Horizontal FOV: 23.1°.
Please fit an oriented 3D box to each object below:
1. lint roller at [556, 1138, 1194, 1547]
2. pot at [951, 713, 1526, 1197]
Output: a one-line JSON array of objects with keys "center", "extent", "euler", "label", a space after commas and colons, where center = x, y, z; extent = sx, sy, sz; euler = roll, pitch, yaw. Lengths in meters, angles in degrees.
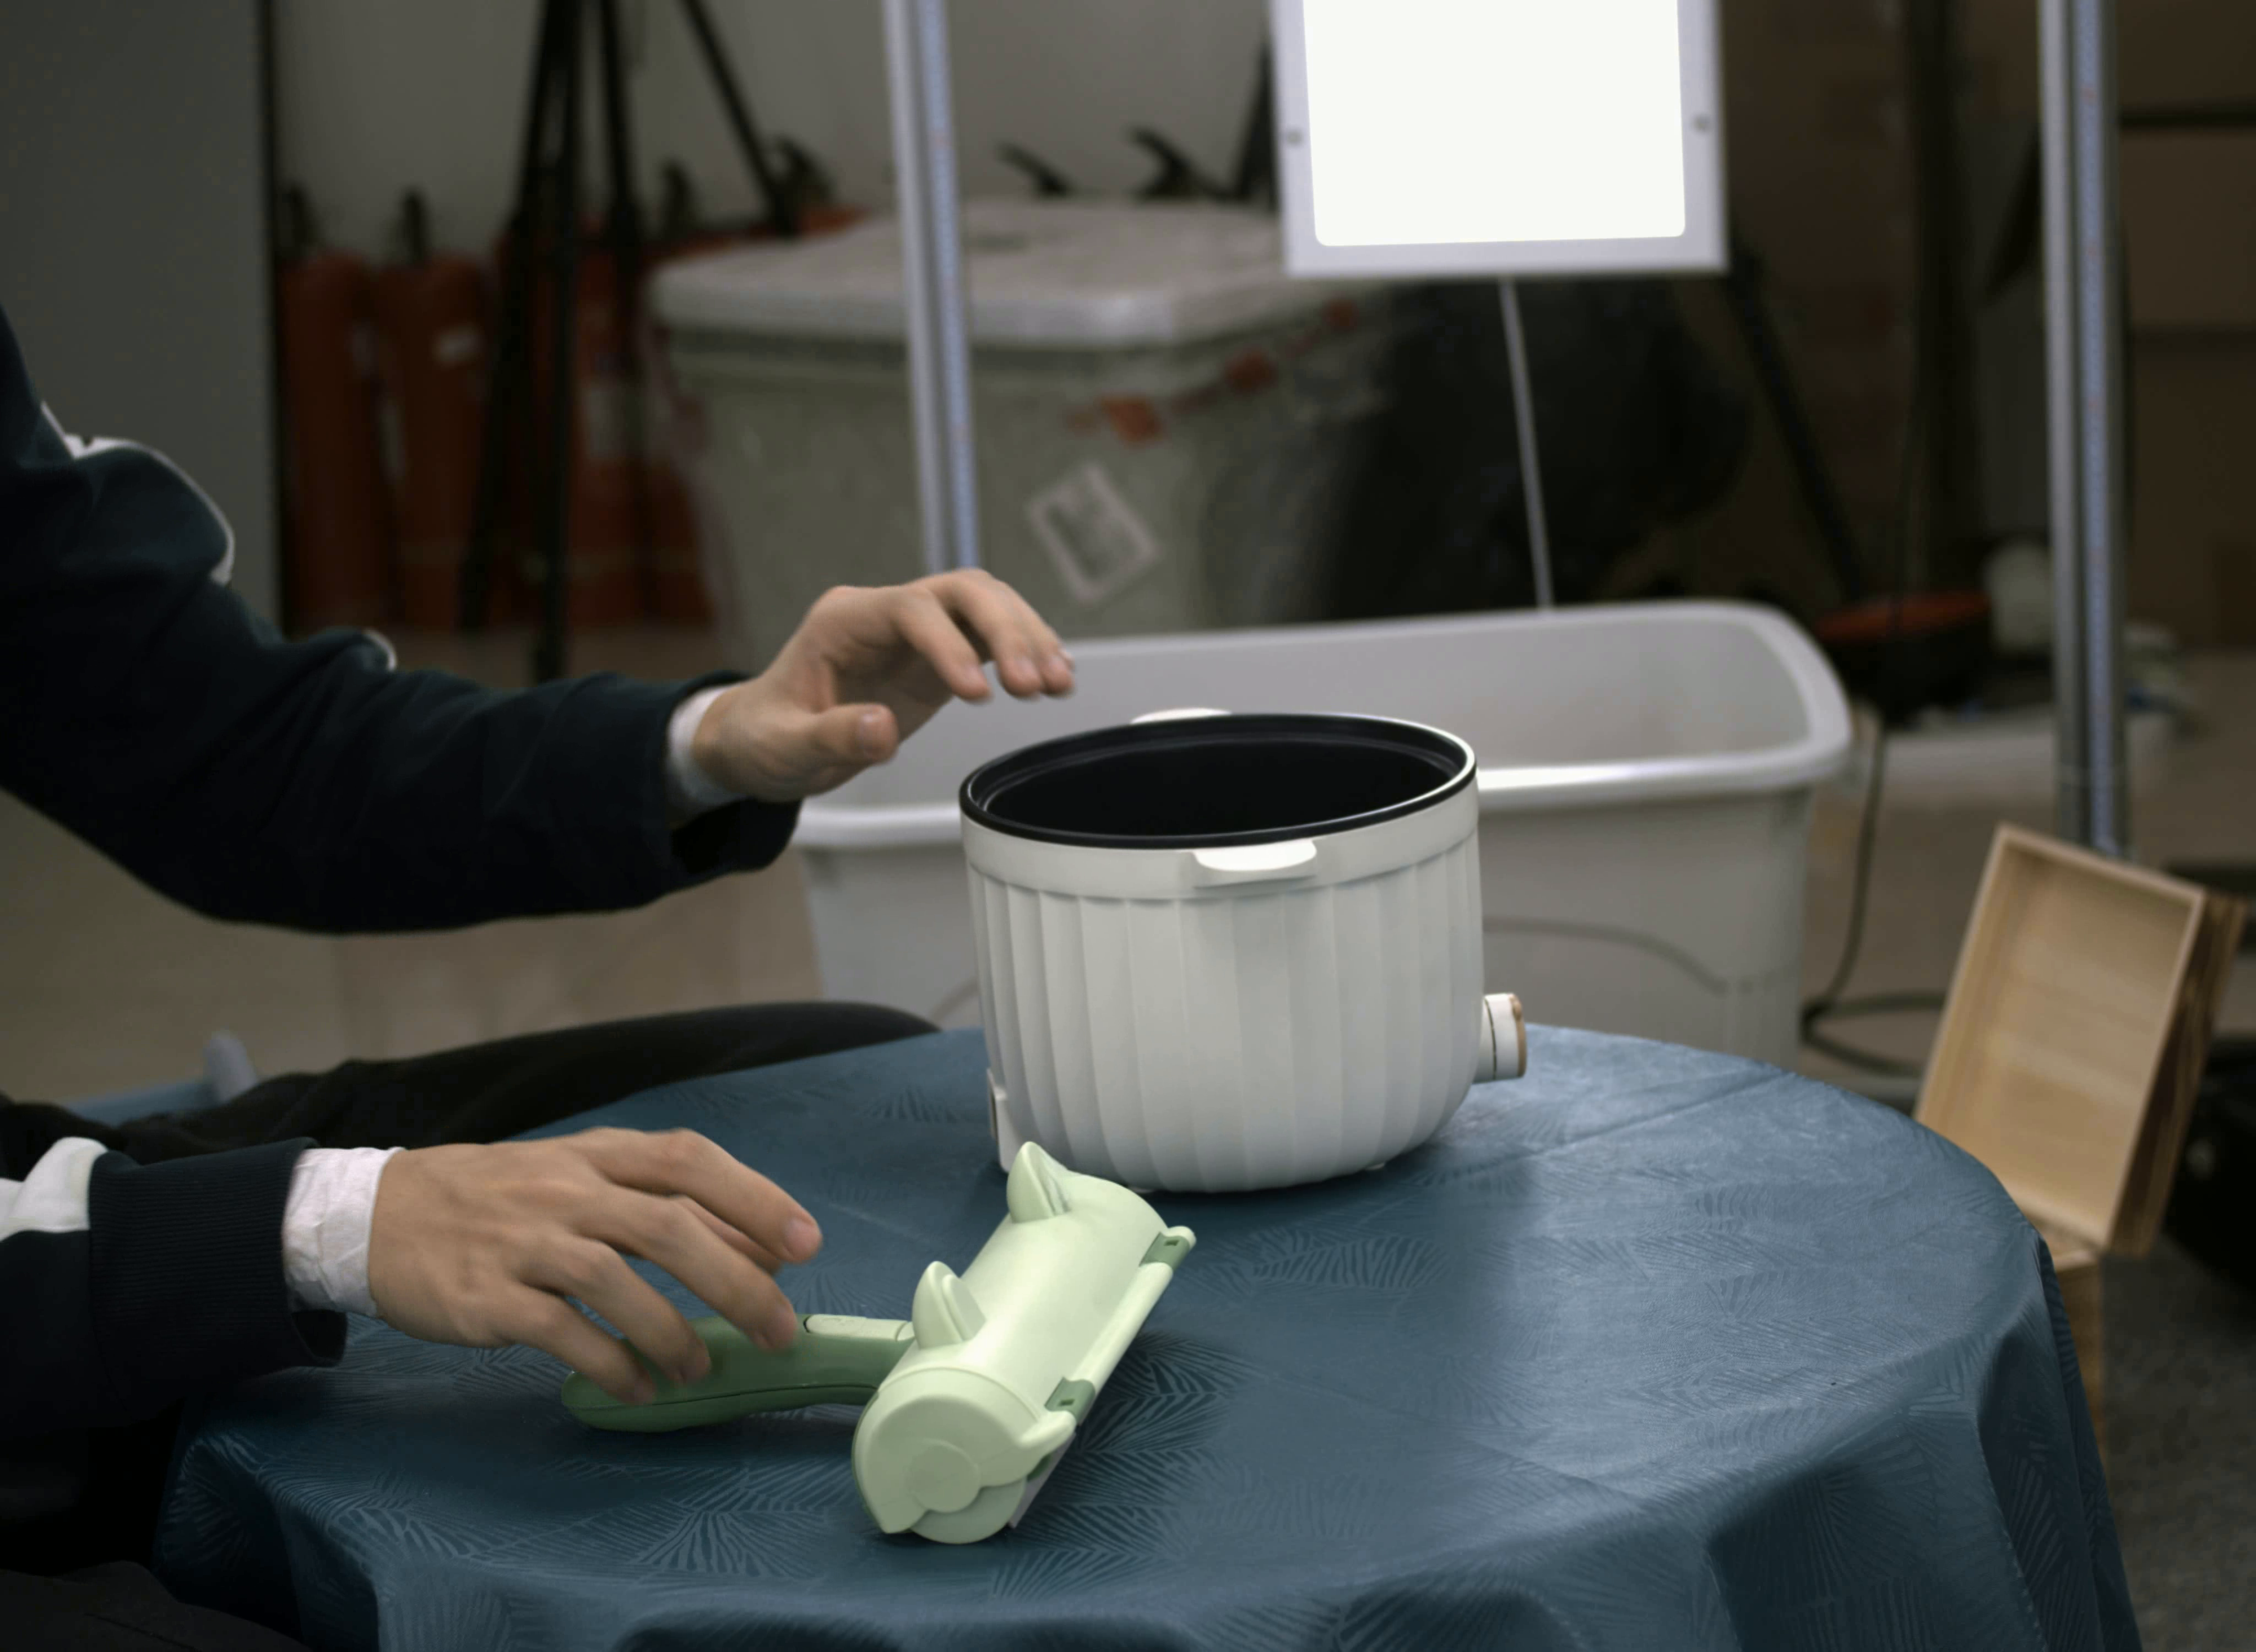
[{"center": [-0.087, 0.148, 1.678], "extent": [0.185, 0.082, 0.196], "euler": [4, 16, 13], "label": "lint roller"}, {"center": [0.040, 0.045, 1.921], "extent": [0.189, 0.143, 0.241], "euler": [-9, 15, -4], "label": "pot"}]
